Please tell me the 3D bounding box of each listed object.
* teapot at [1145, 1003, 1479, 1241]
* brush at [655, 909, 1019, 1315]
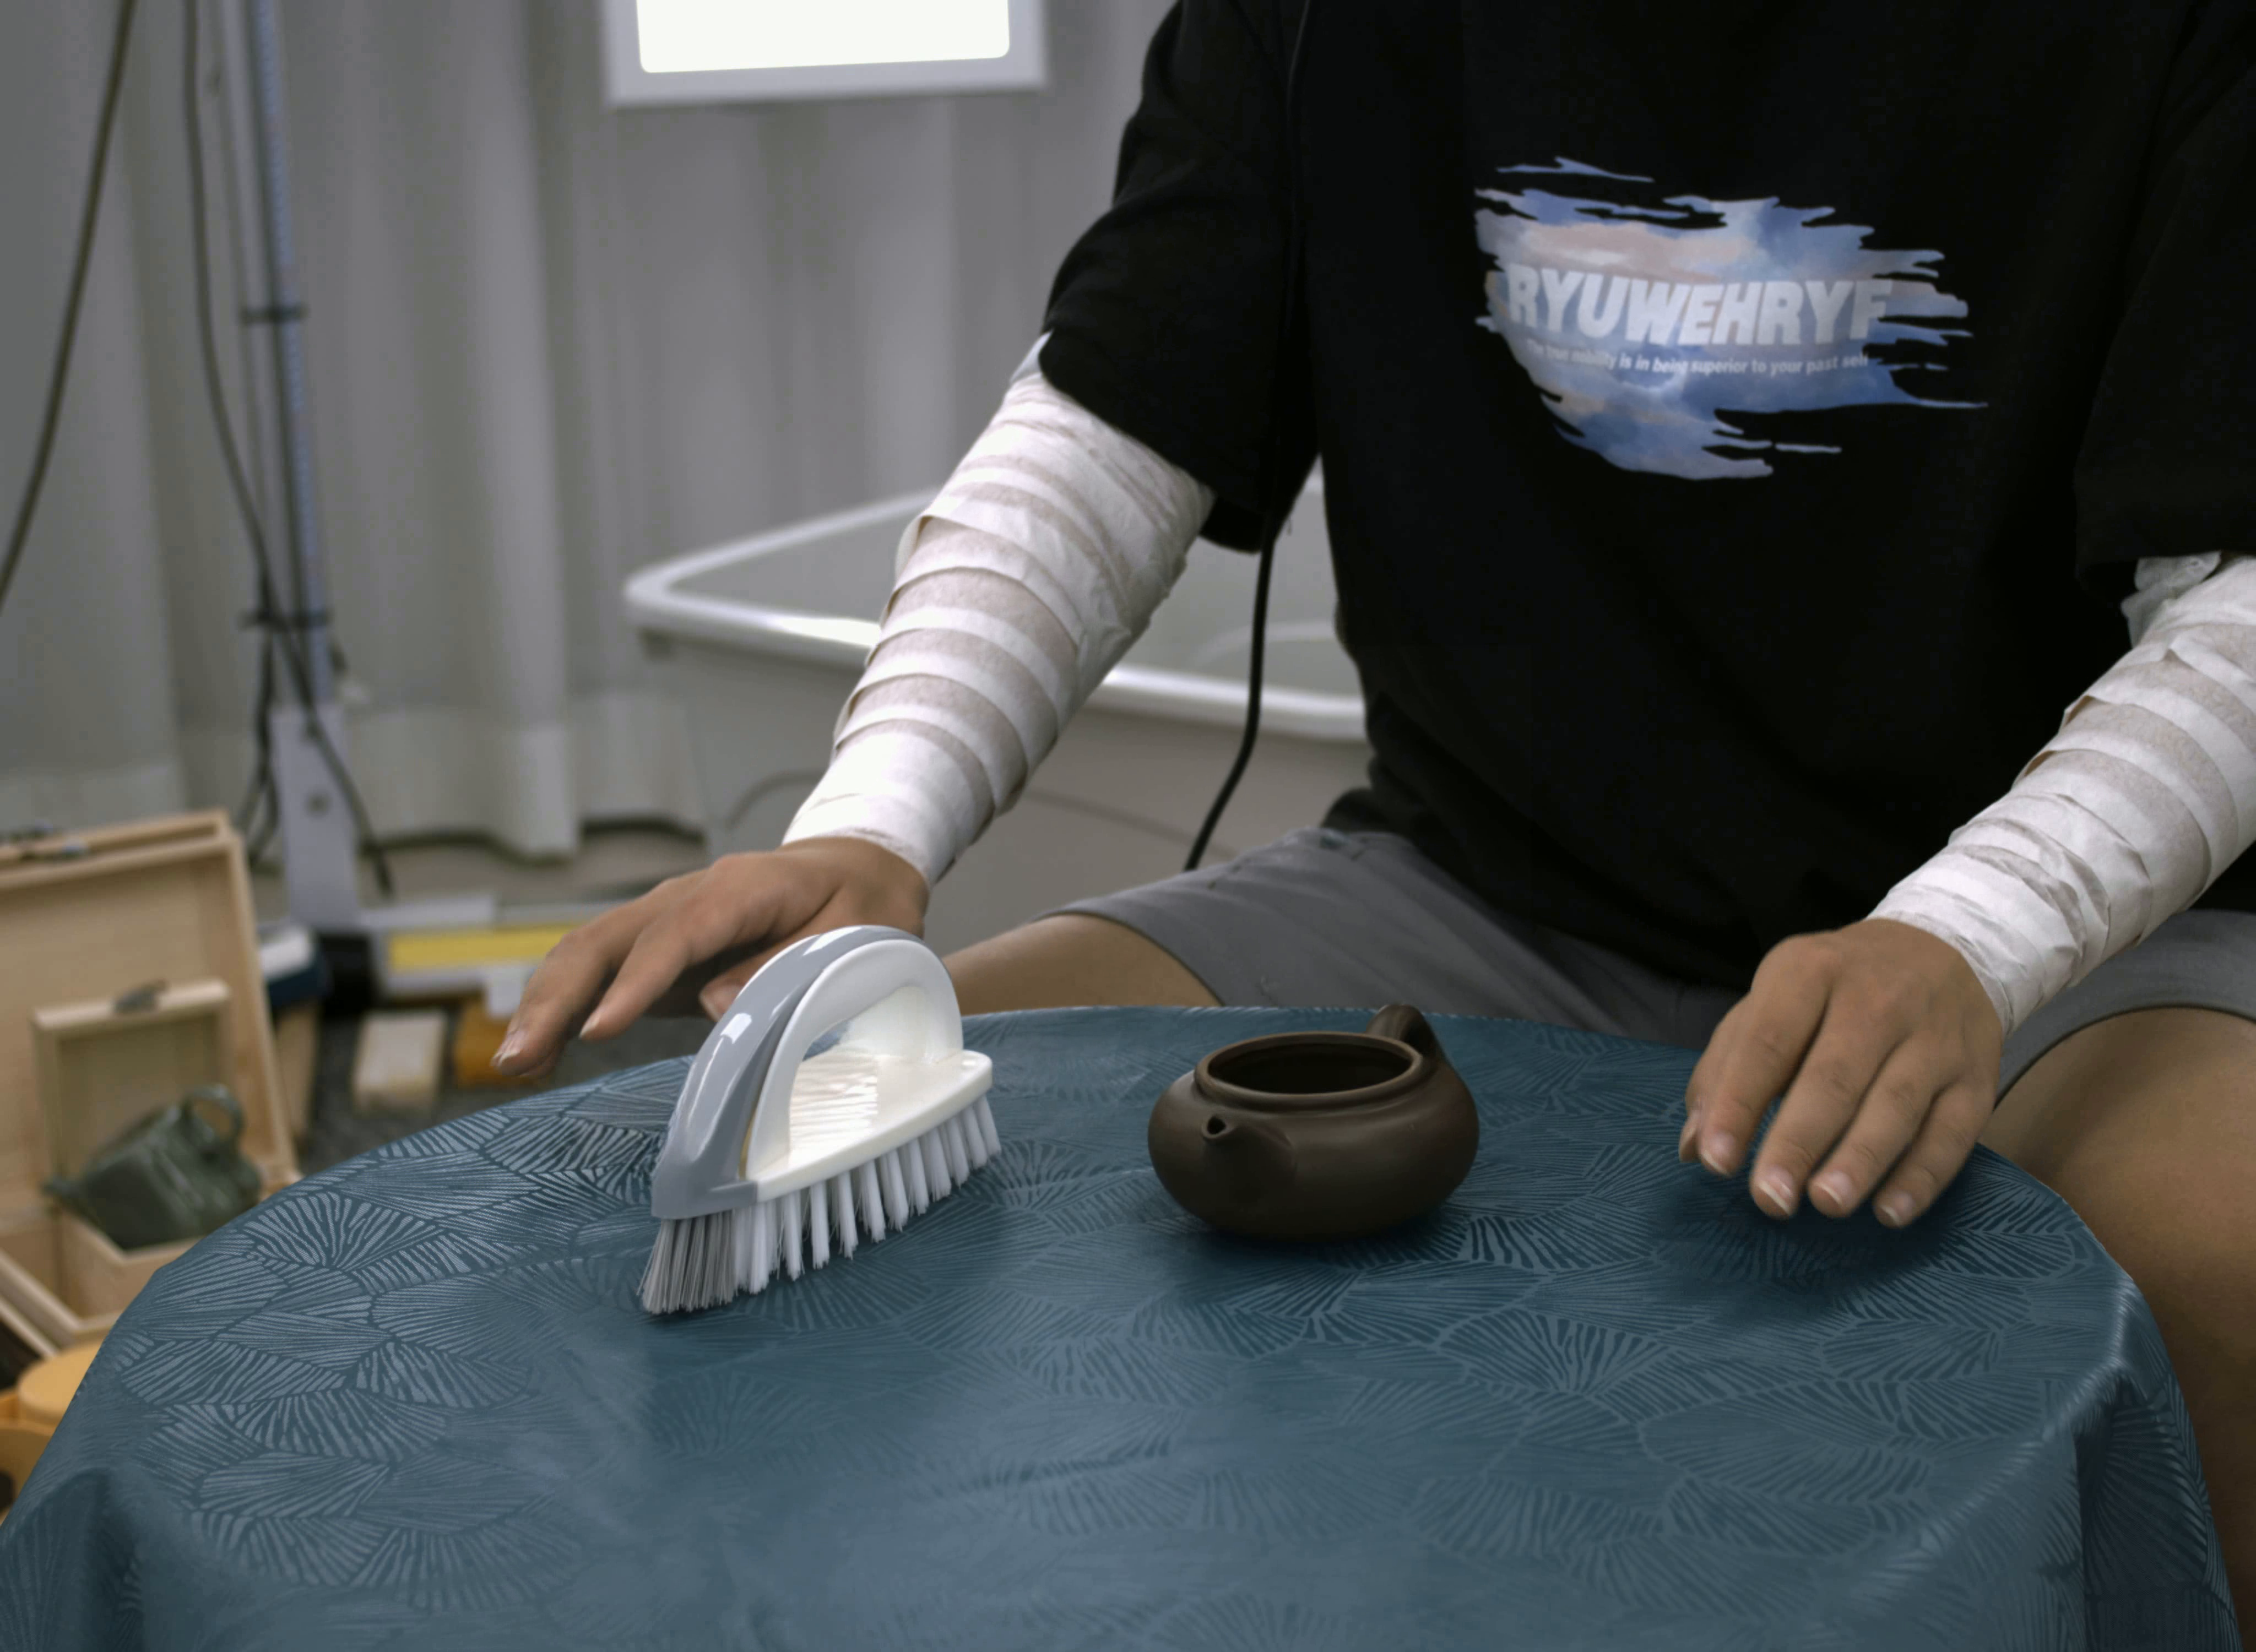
[{"bbox_3d":[0.058,0.092,1.682,0.102,0.053,0.154,4,16,20],"label":"teapot"},{"bbox_3d":[-0.098,0.082,1.677,0.061,0.094,0.176,0,16,28],"label":"brush"}]
